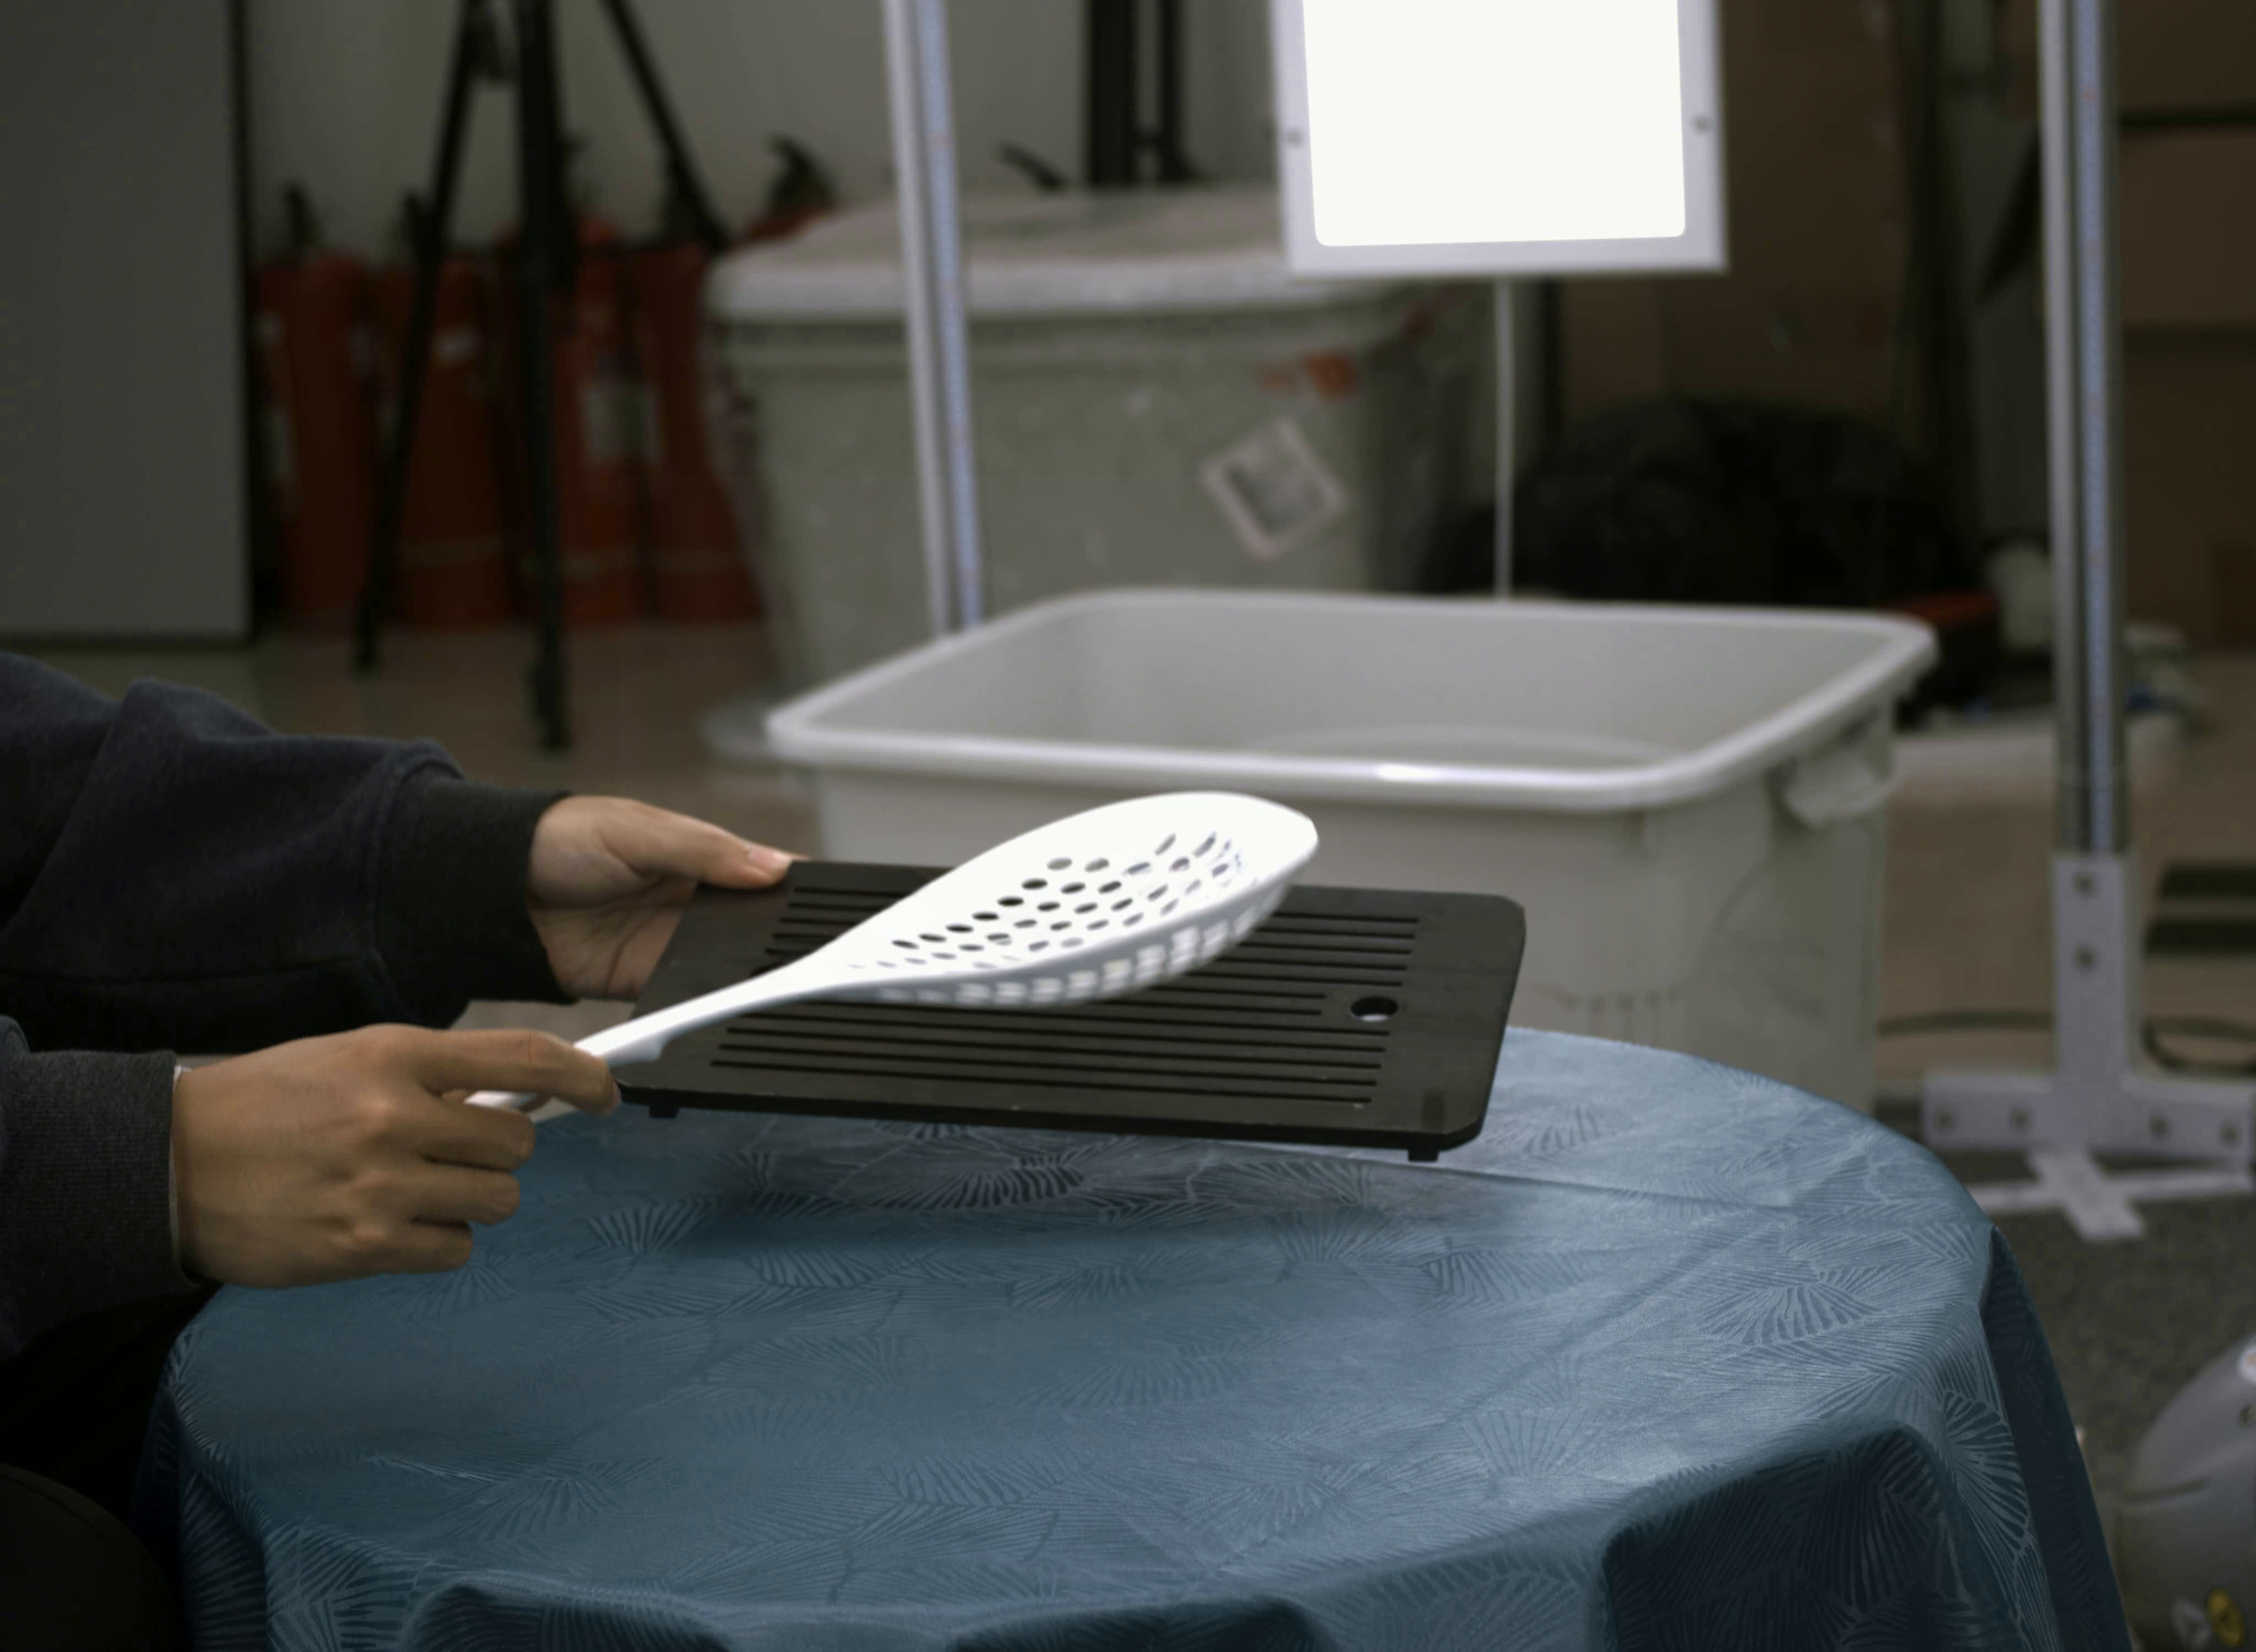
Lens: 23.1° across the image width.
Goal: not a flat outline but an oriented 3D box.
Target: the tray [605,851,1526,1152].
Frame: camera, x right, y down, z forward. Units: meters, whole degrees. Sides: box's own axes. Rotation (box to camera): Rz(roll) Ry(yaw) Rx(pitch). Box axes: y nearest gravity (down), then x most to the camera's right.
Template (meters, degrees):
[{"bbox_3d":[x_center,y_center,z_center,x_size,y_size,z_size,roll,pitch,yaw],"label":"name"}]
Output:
[{"bbox_3d":[-0.019,0.061,1.939,0.308,0.019,0.168,2,28,12],"label":"tray"}]

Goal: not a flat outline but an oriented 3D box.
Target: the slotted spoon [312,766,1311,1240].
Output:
[{"bbox_3d":[-0.101,0.055,1.752,0.342,0.050,0.138,-17,16,-17],"label":"slotted spoon"}]
